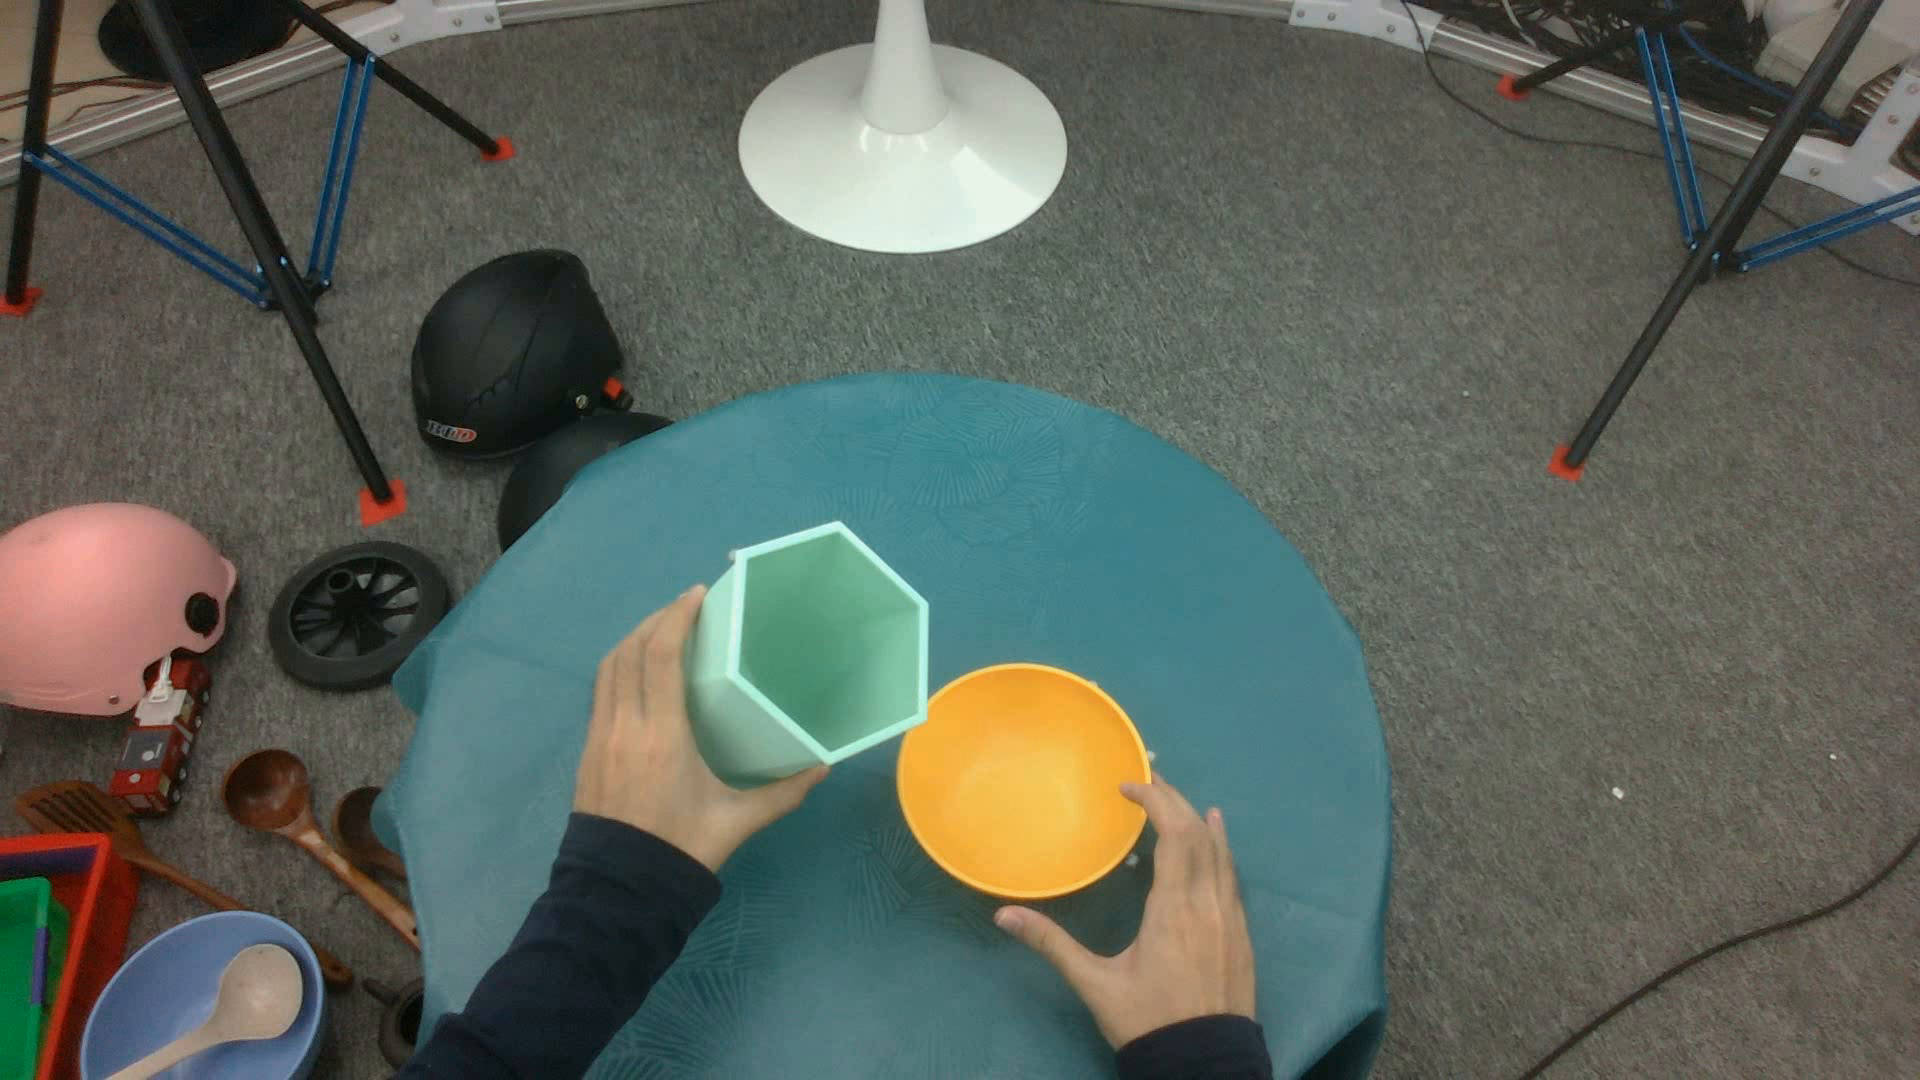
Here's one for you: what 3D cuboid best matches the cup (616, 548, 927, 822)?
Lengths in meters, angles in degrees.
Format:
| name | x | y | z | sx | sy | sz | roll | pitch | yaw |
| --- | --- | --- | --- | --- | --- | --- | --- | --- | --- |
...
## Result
| name | x | y | z | sx | sy | sz | roll | pitch | yaw |
| --- | --- | --- | --- | --- | --- | --- | --- | --- | --- |
| cup | -0.110 | 0.091 | 0.762 | 0.131 | 0.162 | 0.116 | 43 | 49 | -15 |

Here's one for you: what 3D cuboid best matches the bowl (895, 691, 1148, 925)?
| name | x | y | z | sx | sy | sz | roll | pitch | yaw |
| --- | --- | --- | --- | --- | --- | --- | --- | --- | --- |
| bowl | 0.035 | 0.165 | 0.810 | 0.145 | 0.060 | 0.146 | 0 | 54 | 0 |
